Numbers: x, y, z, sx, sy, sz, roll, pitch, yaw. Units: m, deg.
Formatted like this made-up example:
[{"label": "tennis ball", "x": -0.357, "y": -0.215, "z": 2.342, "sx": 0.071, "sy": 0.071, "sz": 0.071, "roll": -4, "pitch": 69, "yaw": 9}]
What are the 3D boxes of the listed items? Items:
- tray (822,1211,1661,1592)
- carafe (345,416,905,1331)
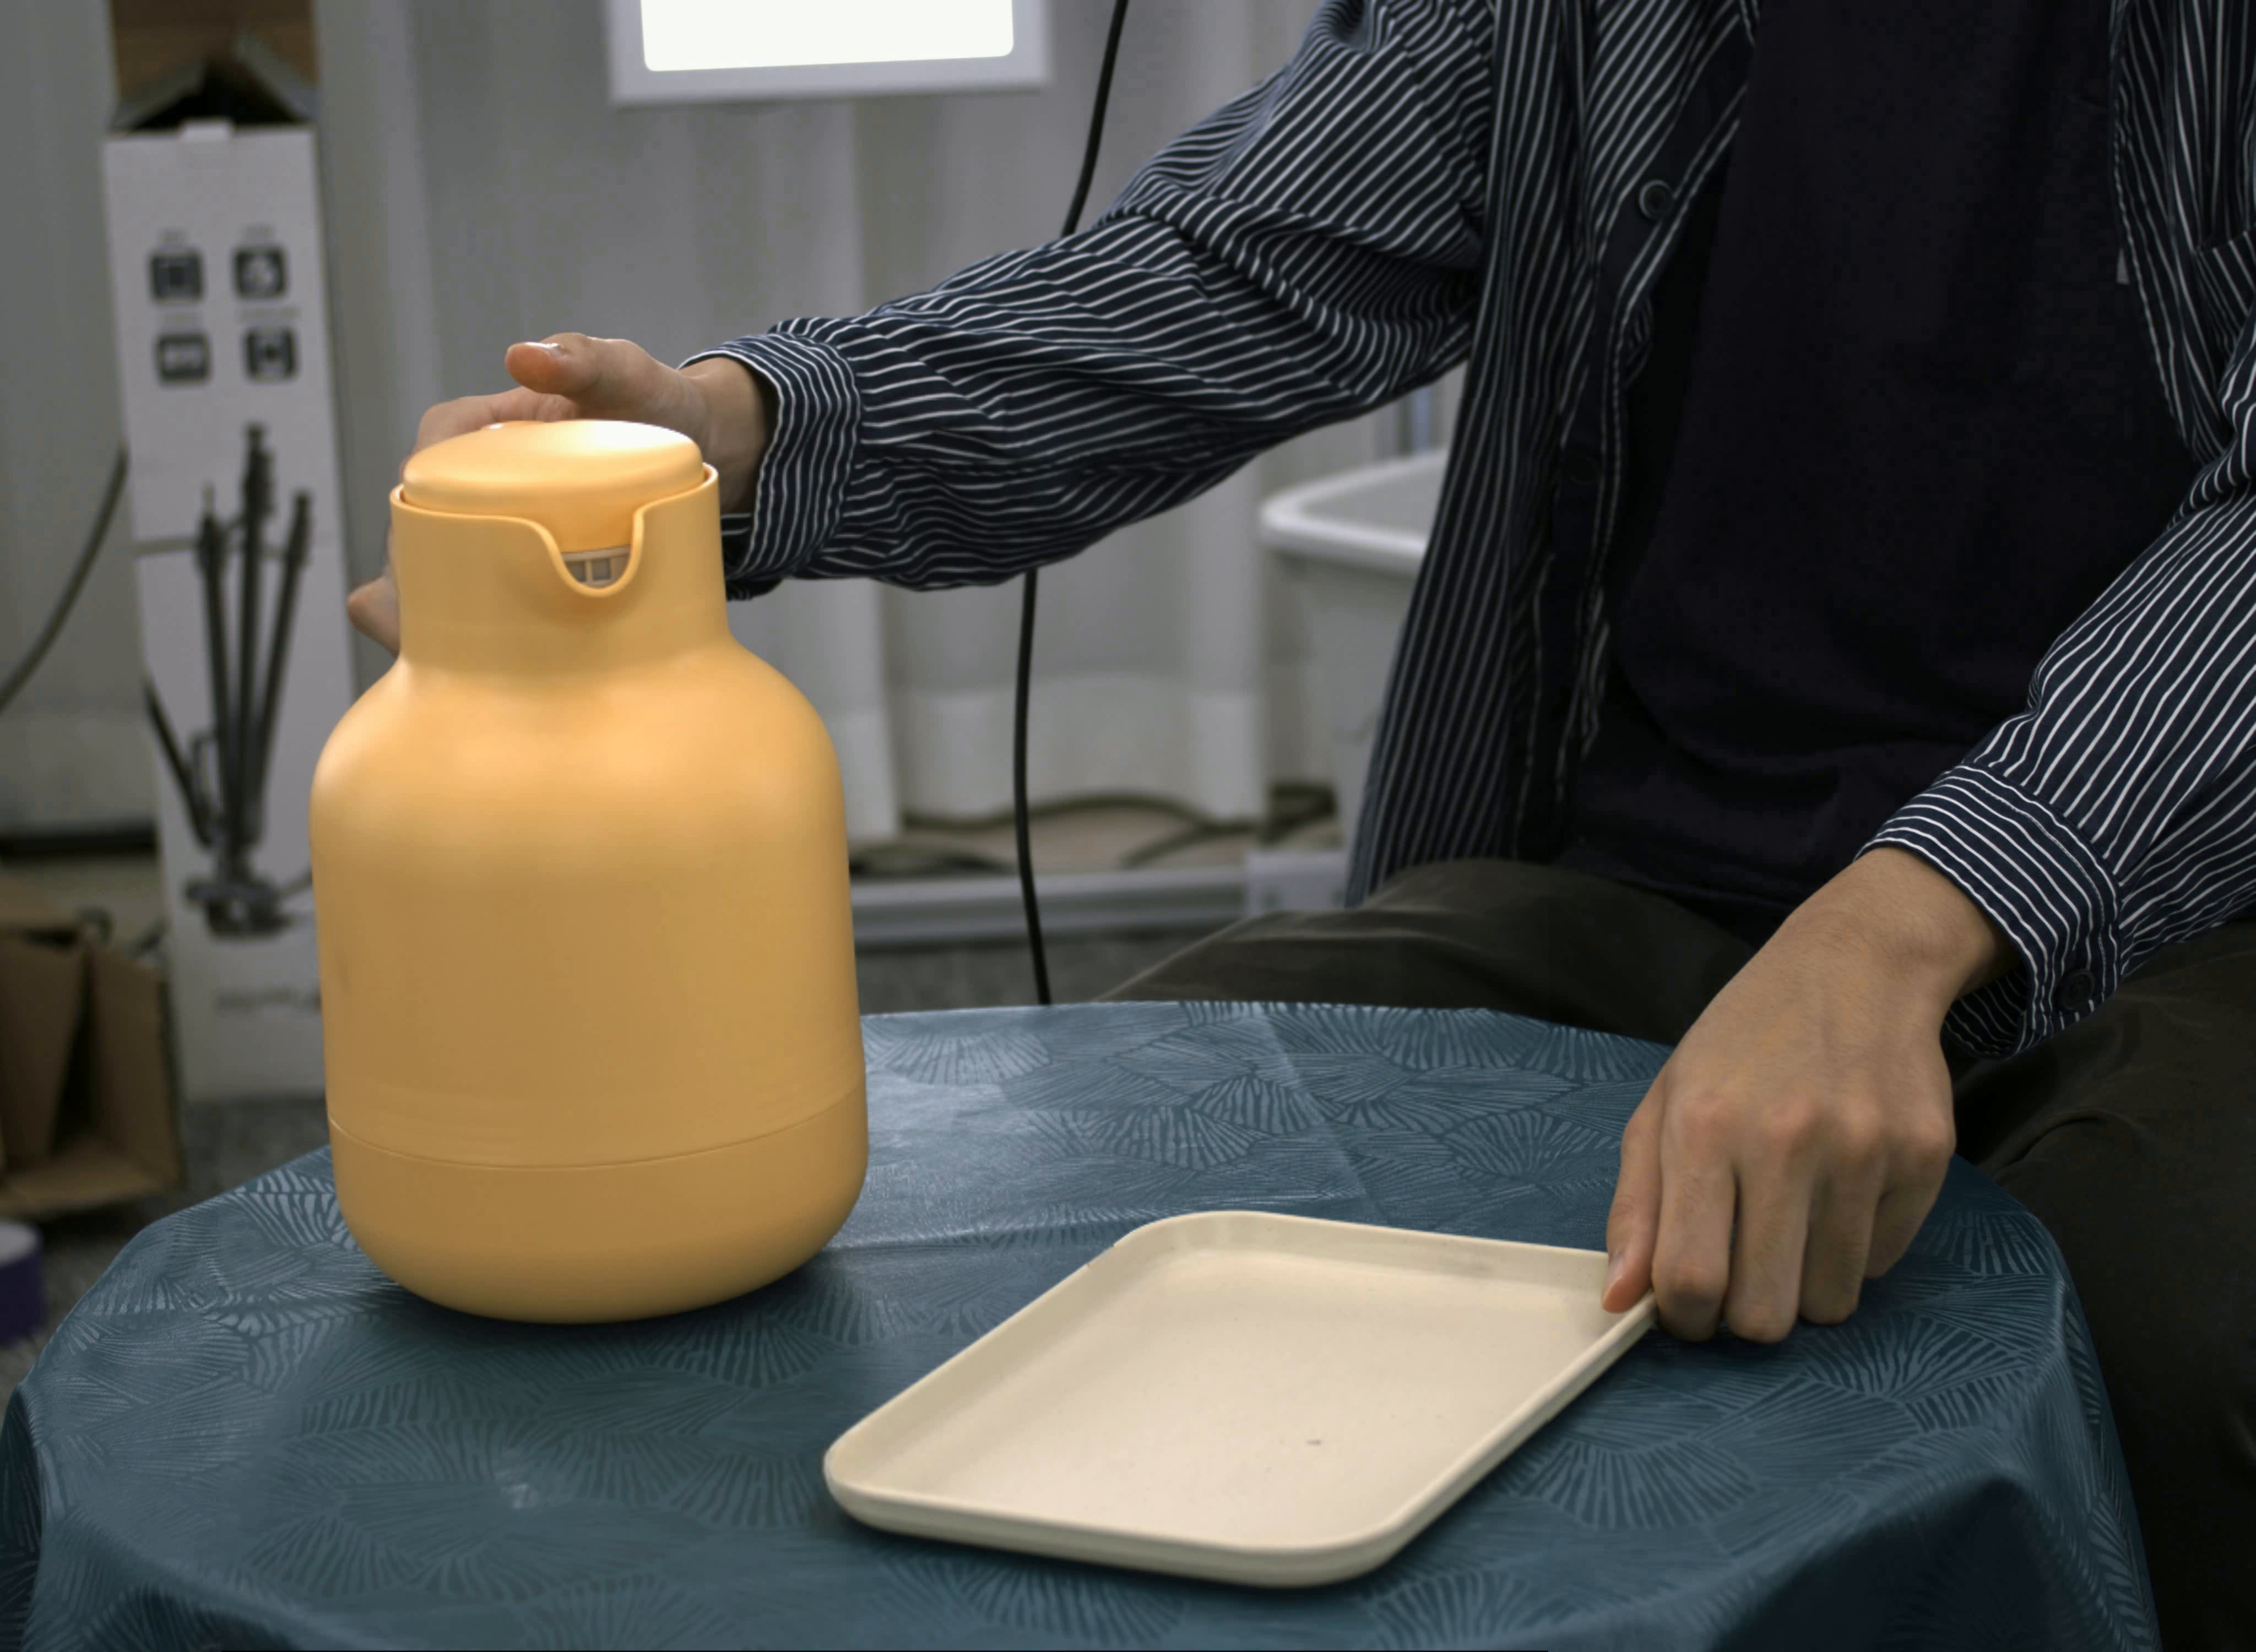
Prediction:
[{"label": "tray", "x": 0.035, "y": 0.158, "z": 1.515, "sx": 0.171, "sy": 0.017, "sz": 0.240, "roll": 5, "pitch": 17, "yaw": 26}, {"label": "carafe", "x": -0.157, "y": 0.006, "z": 1.654, "sx": 0.162, "sy": 0.259, "sz": 0.204, "roll": -6, "pitch": 15, "yaw": -17}]
